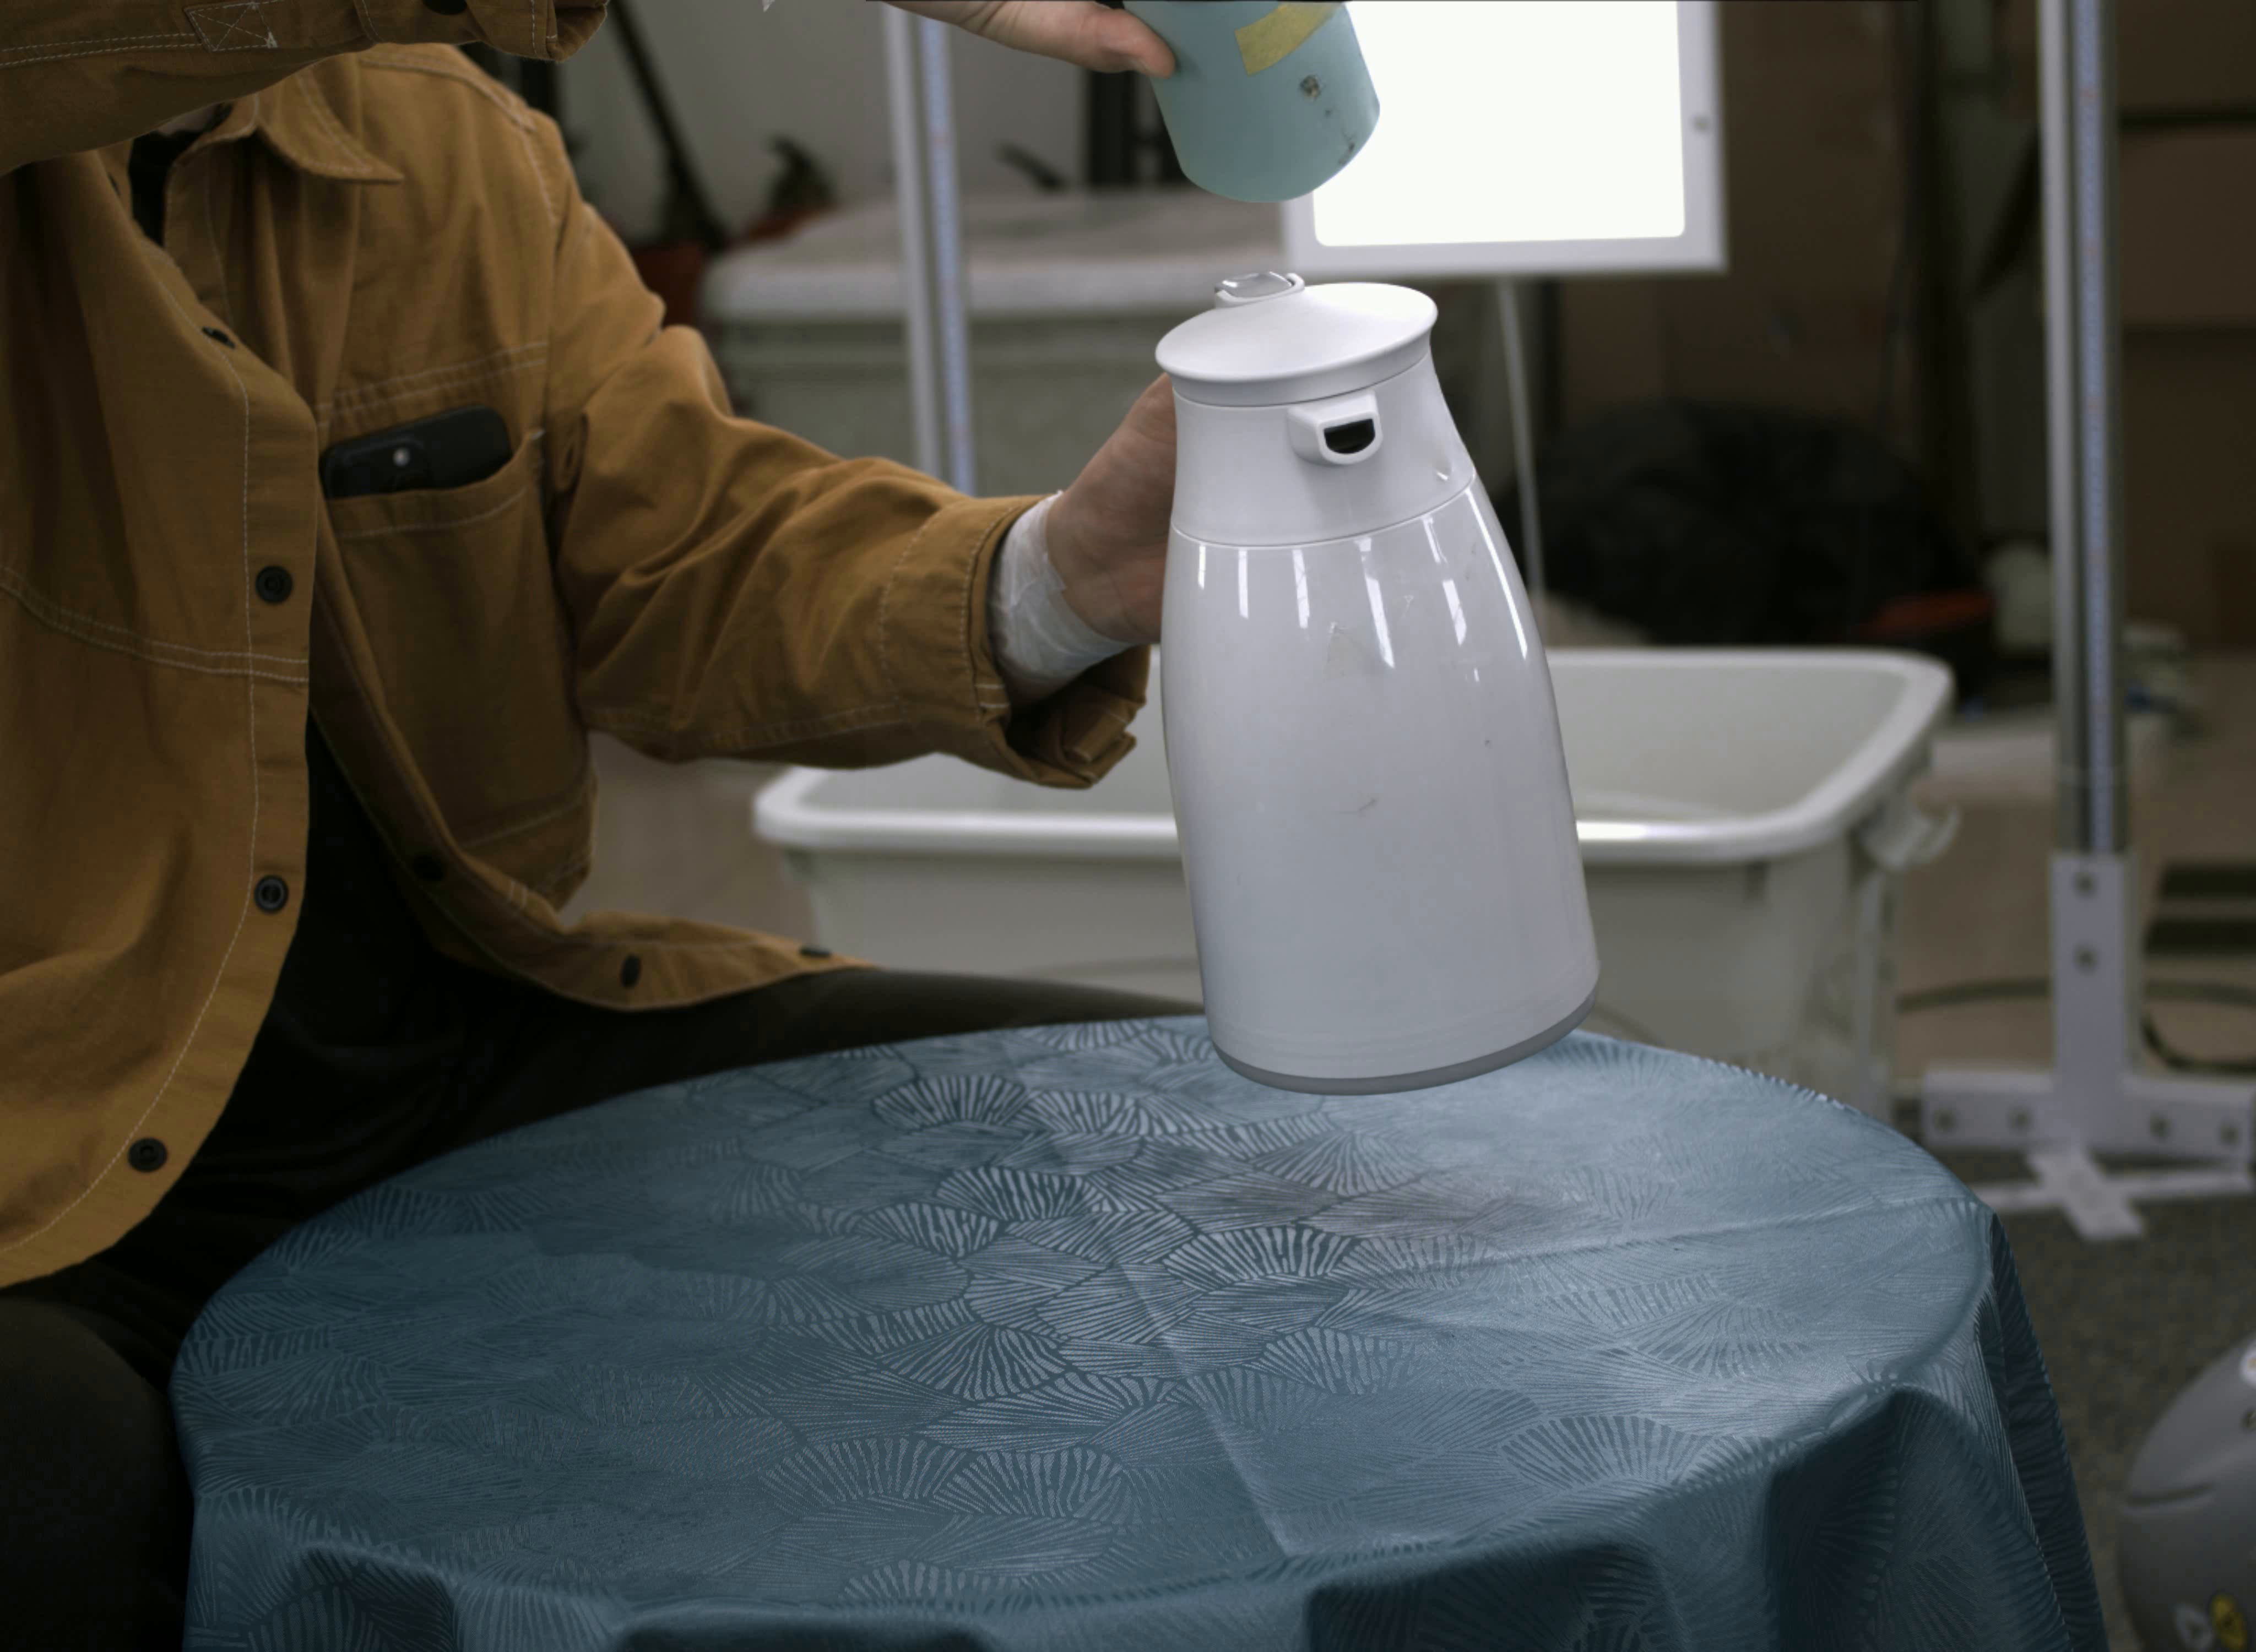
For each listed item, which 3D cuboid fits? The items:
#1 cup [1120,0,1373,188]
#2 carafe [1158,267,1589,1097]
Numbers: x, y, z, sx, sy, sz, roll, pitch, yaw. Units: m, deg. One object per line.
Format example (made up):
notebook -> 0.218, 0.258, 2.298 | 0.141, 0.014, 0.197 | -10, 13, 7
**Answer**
cup -> 0.027, -0.265, 1.680 | 0.067, 0.131, 0.066 | -12, 45, 11
carafe -> 0.067, -0.057, 1.806 | 0.131, 0.249, 0.168 | -12, 20, -7
